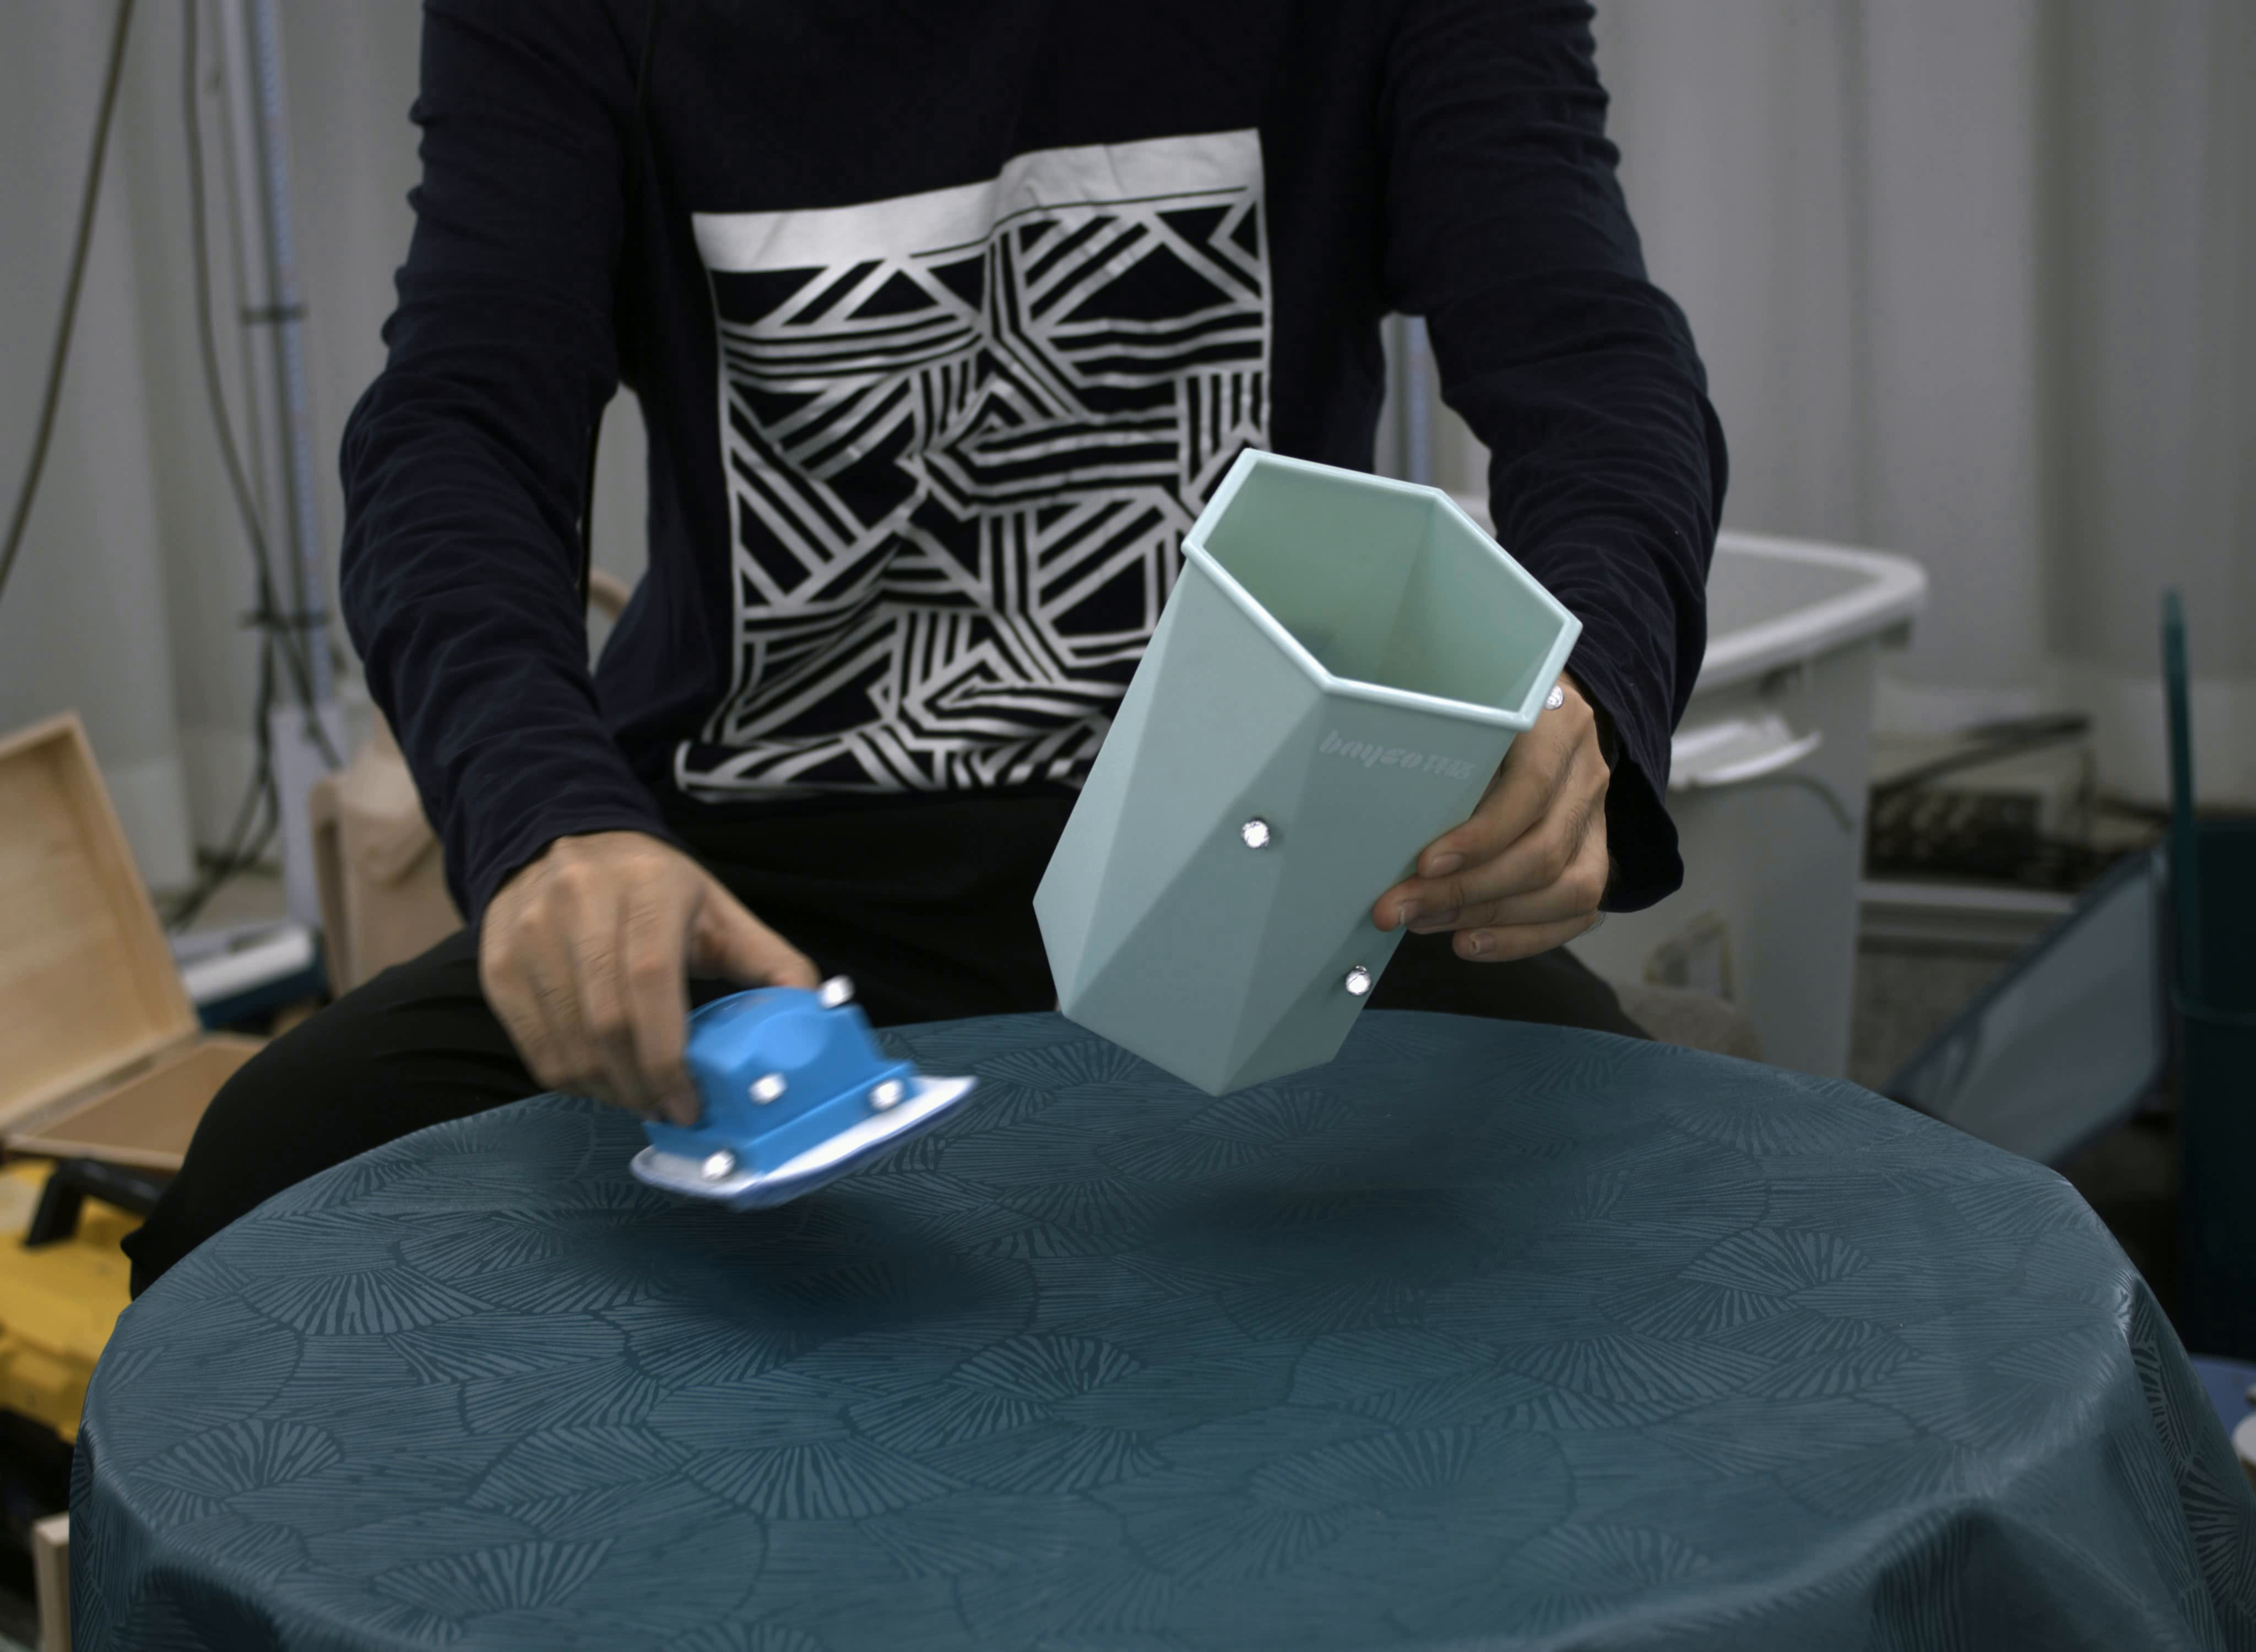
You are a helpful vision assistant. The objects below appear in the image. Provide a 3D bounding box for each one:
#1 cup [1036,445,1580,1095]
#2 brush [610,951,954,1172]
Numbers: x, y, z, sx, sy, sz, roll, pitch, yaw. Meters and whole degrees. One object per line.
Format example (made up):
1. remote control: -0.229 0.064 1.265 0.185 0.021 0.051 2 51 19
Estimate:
1. cup: 0.047 -0.011 1.647 0.130 0.161 0.117 9 36 -23
2. brush: -0.110 0.070 1.662 0.084 0.056 0.144 -22 10 -18
